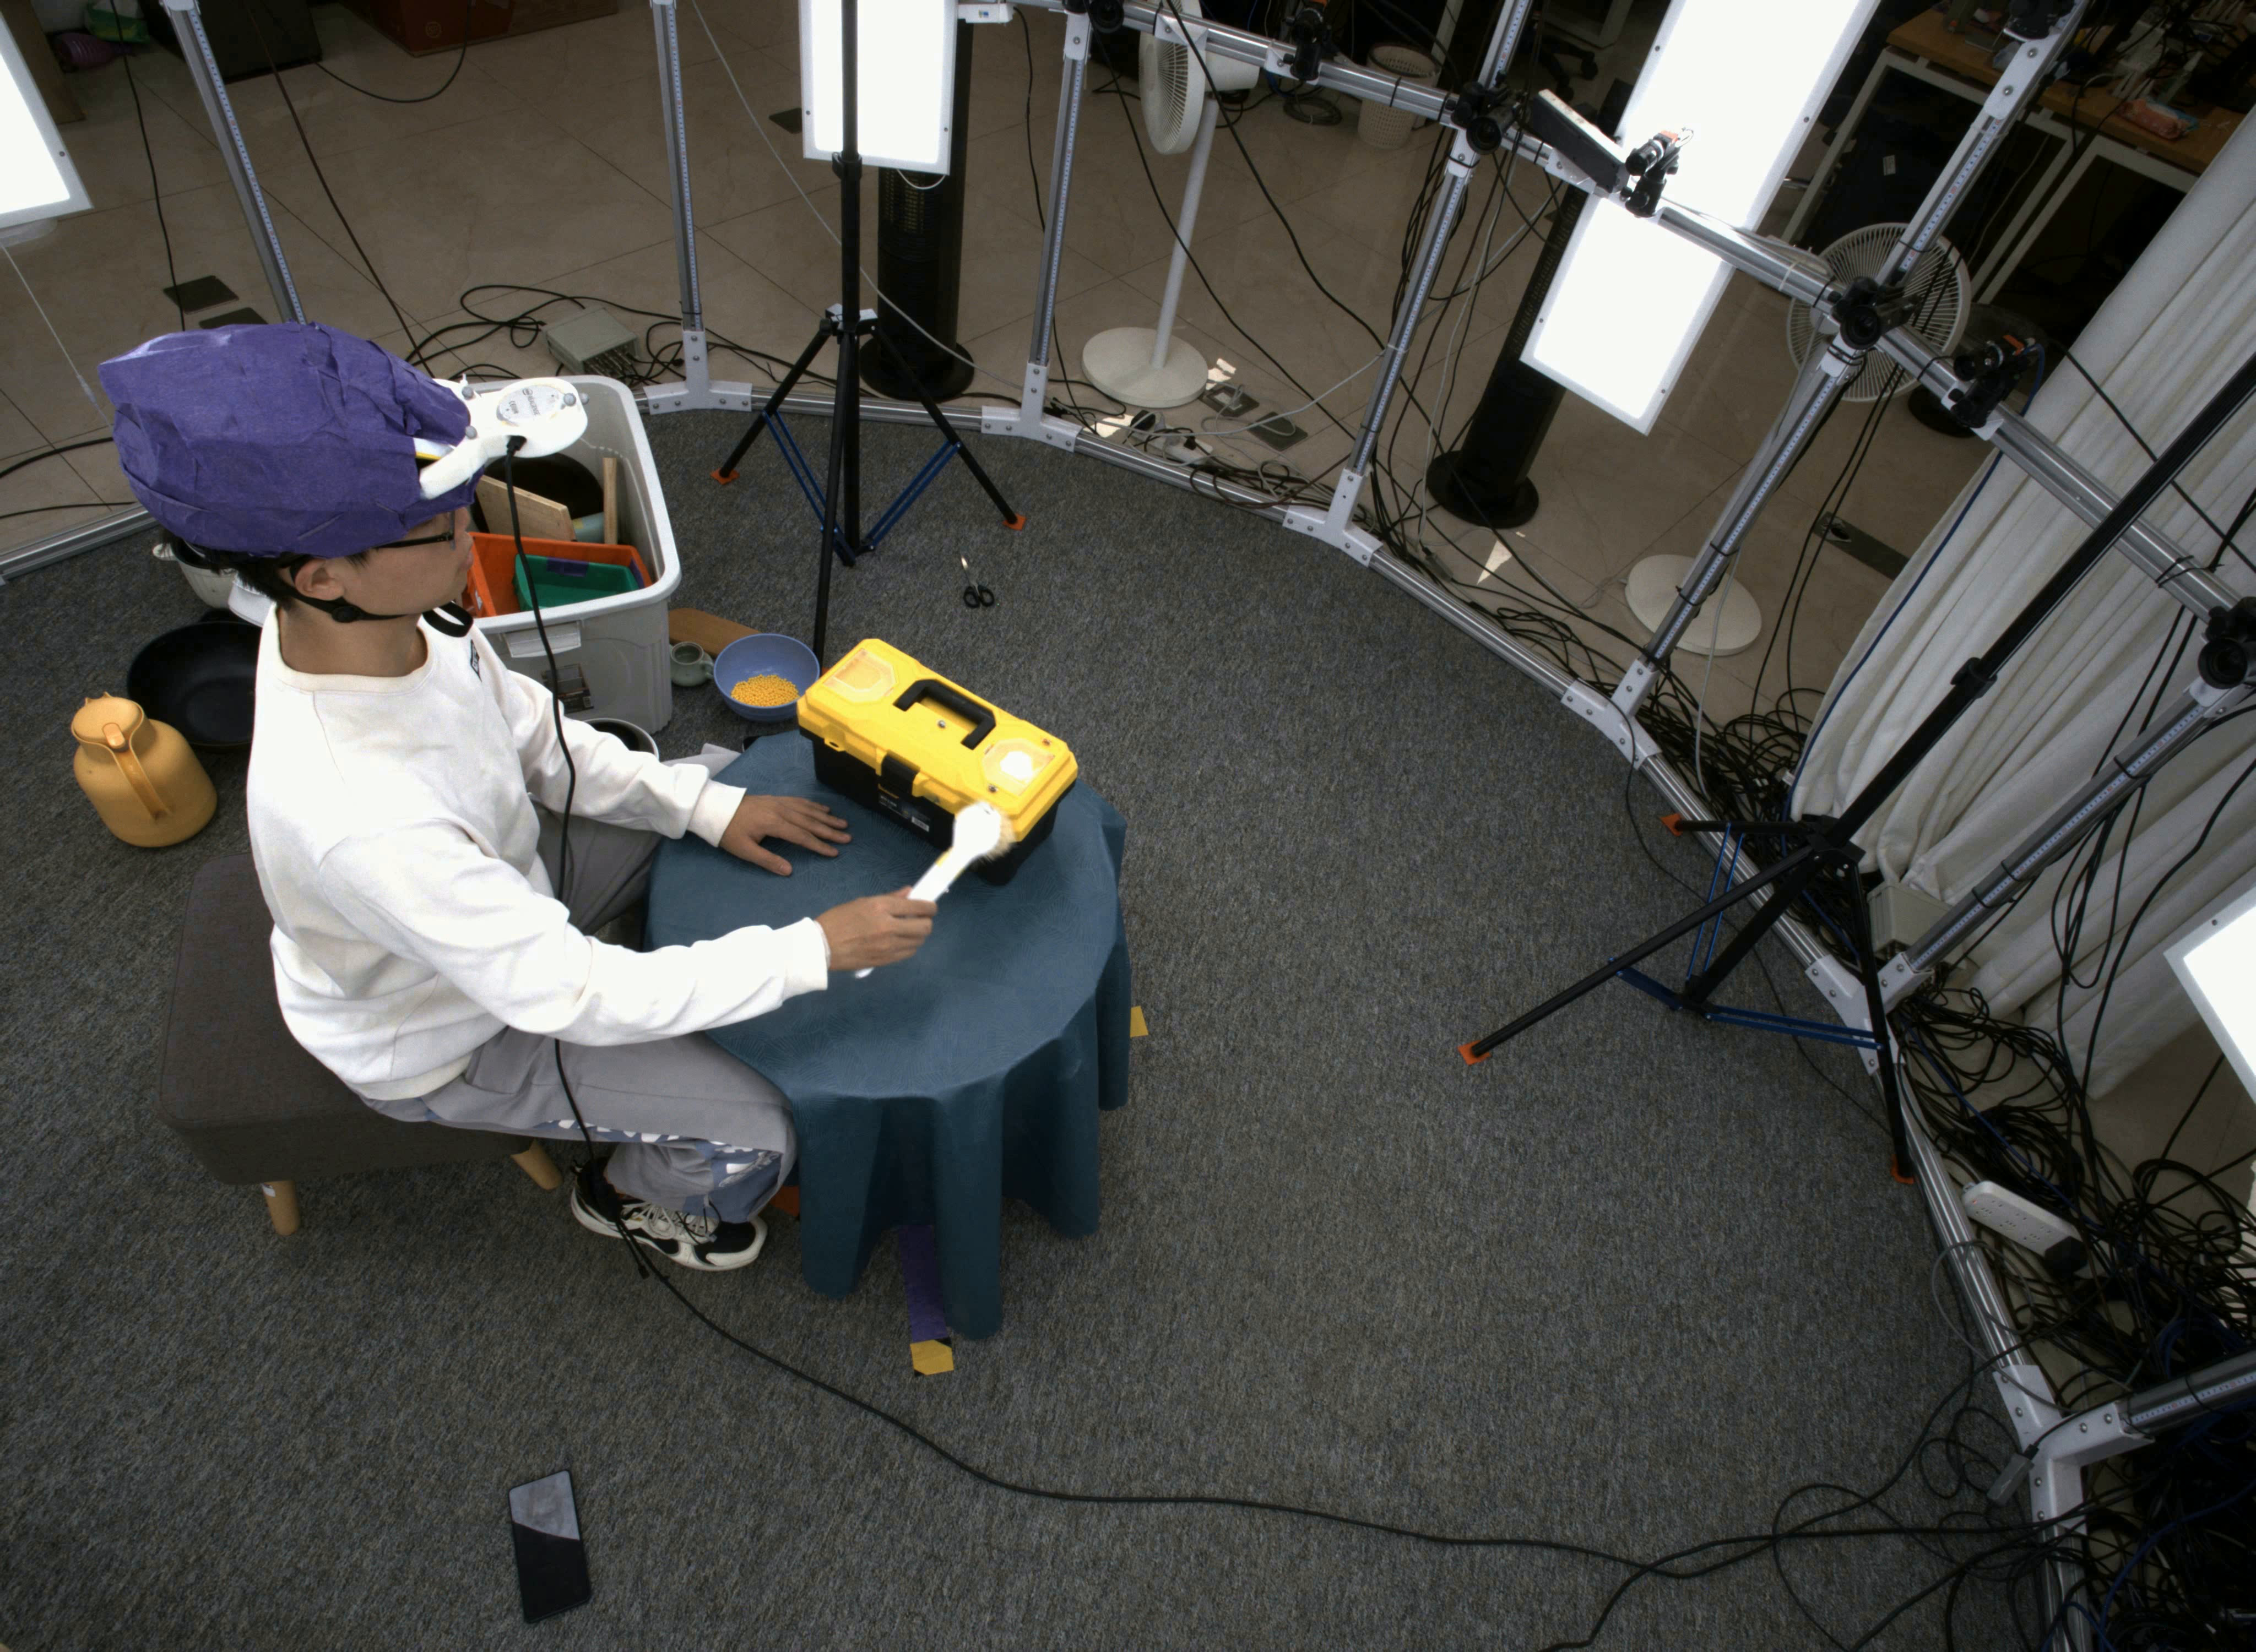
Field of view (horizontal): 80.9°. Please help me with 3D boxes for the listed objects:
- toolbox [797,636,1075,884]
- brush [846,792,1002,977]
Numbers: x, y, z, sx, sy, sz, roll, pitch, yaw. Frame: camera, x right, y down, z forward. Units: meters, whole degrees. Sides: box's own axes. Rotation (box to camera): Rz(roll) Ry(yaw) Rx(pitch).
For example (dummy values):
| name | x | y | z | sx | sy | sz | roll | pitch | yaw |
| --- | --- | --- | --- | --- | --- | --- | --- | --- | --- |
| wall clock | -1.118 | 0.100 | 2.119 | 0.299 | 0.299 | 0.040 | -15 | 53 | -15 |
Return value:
| name | x | y | z | sx | sy | sz | roll | pitch | yaw |
| --- | --- | --- | --- | --- | --- | --- | --- | --- | --- |
| toolbox | -0.257 | -0.084 | 1.725 | 0.345 | 0.176 | 0.181 | 29 | 52 | 11 |
| brush | -0.248 | 0.074 | 1.580 | 0.066 | 0.058 | 0.267 | 36 | 89 | 26 |
